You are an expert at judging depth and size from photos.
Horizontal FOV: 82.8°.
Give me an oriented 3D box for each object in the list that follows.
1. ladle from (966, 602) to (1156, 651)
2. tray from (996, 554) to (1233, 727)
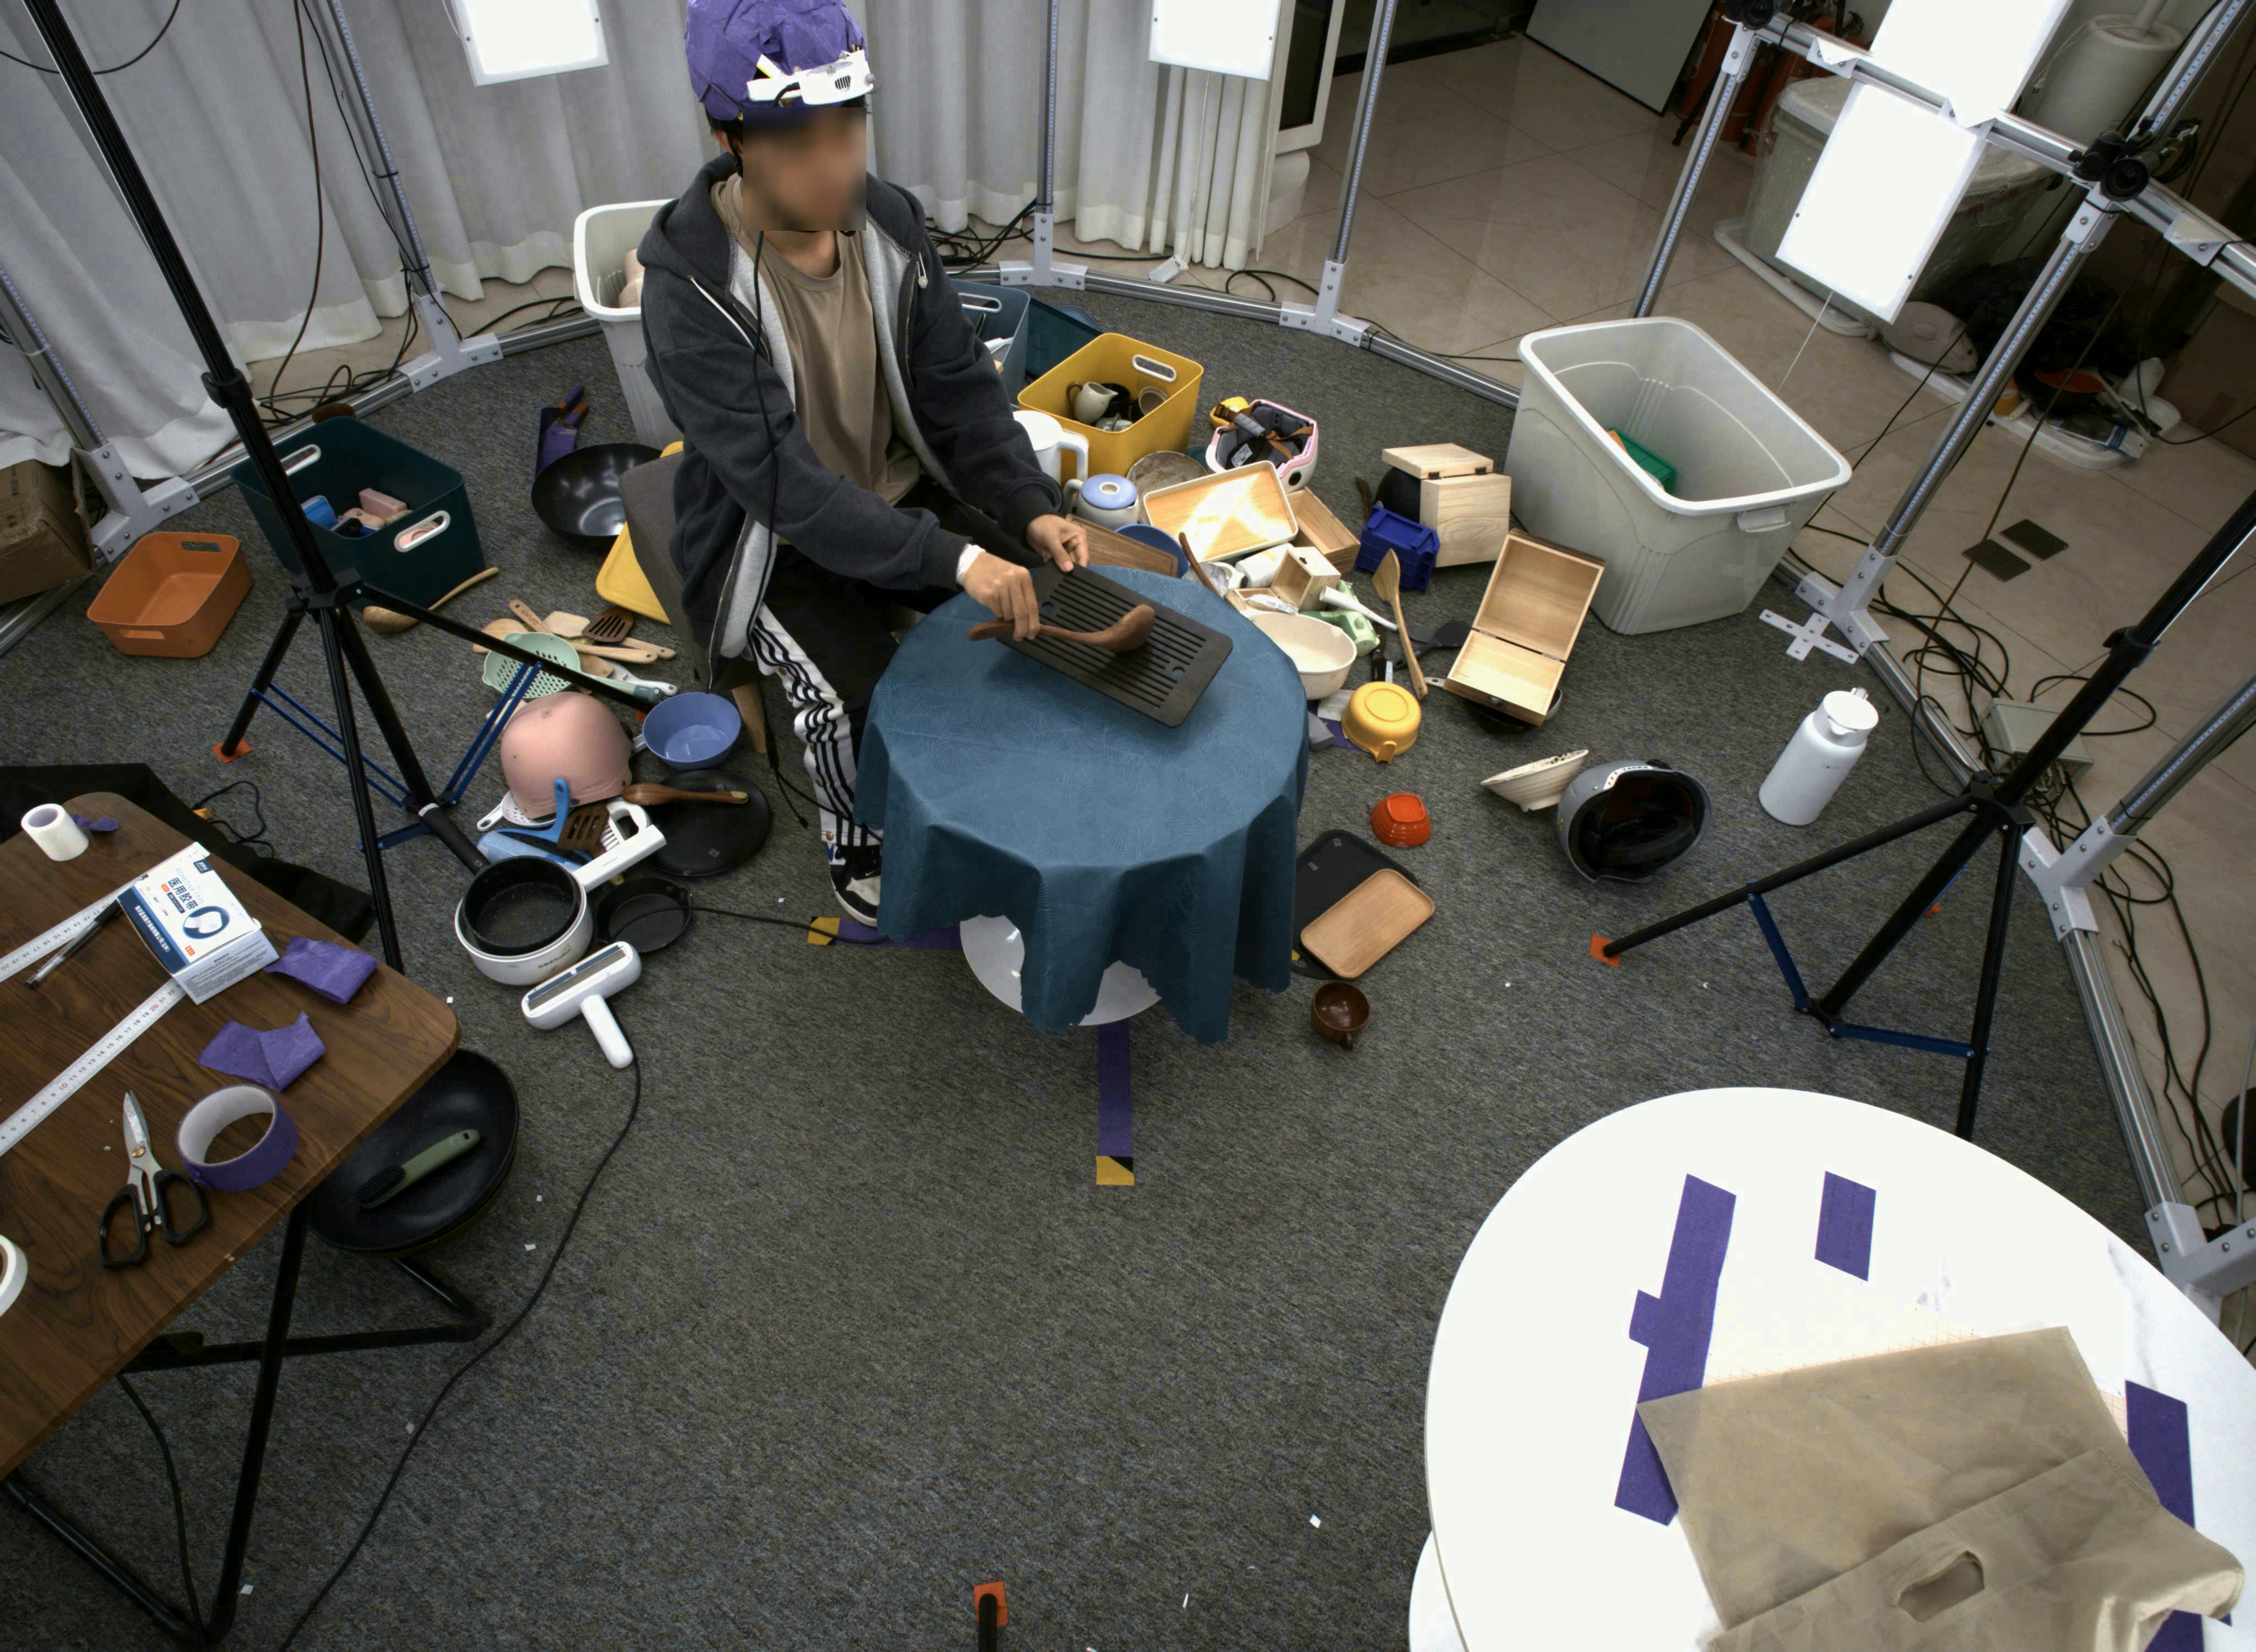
[{"bbox_3d":[-0.089,-0.275,1.757,0.259,0.075,0.066,2,55,-9],"label":"ladle"},{"bbox_3d":[-0.021,-0.265,1.819,0.308,0.018,0.172,28,66,16],"label":"tray"}]
